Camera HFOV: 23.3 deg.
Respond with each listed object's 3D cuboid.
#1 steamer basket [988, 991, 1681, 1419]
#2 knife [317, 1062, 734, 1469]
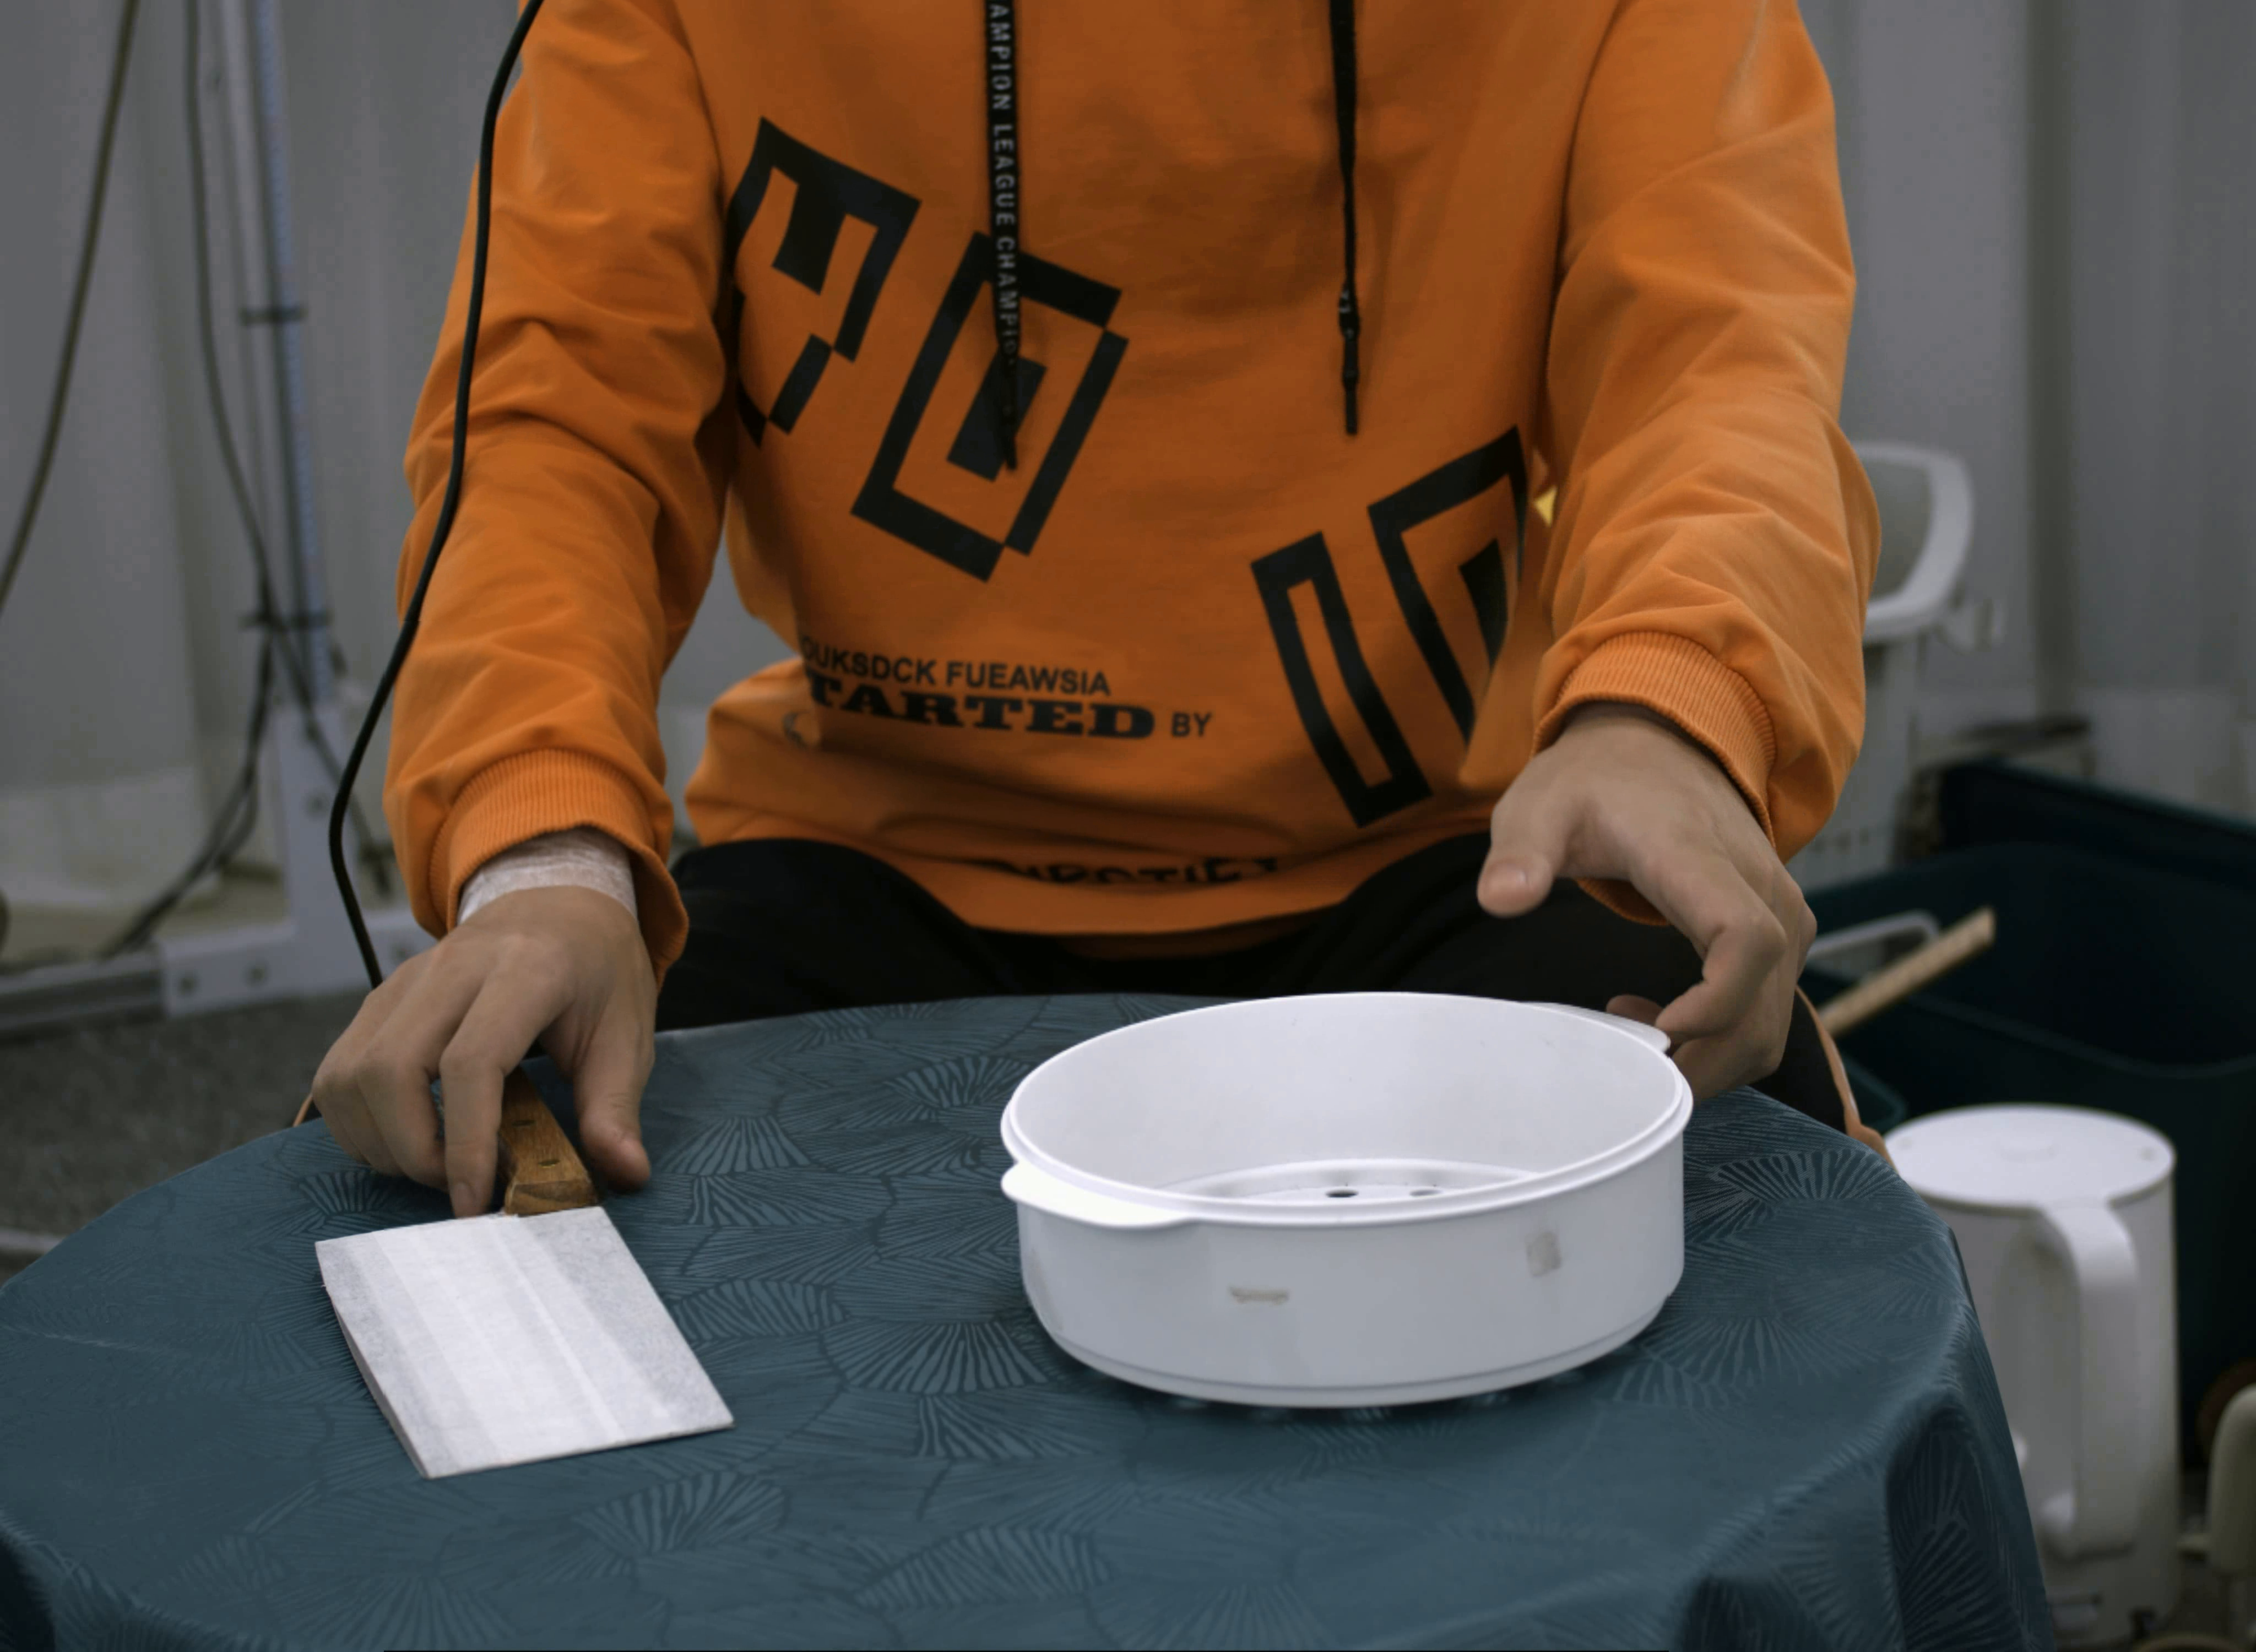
[{"bbox_3d":[0.061,0.110,1.589,0.230,0.069,0.203,-18,20,-39],"label":"steamer basket"},{"bbox_3d":[-0.195,0.132,1.659,0.092,0.021,0.308,-9,18,-15],"label":"knife"}]
